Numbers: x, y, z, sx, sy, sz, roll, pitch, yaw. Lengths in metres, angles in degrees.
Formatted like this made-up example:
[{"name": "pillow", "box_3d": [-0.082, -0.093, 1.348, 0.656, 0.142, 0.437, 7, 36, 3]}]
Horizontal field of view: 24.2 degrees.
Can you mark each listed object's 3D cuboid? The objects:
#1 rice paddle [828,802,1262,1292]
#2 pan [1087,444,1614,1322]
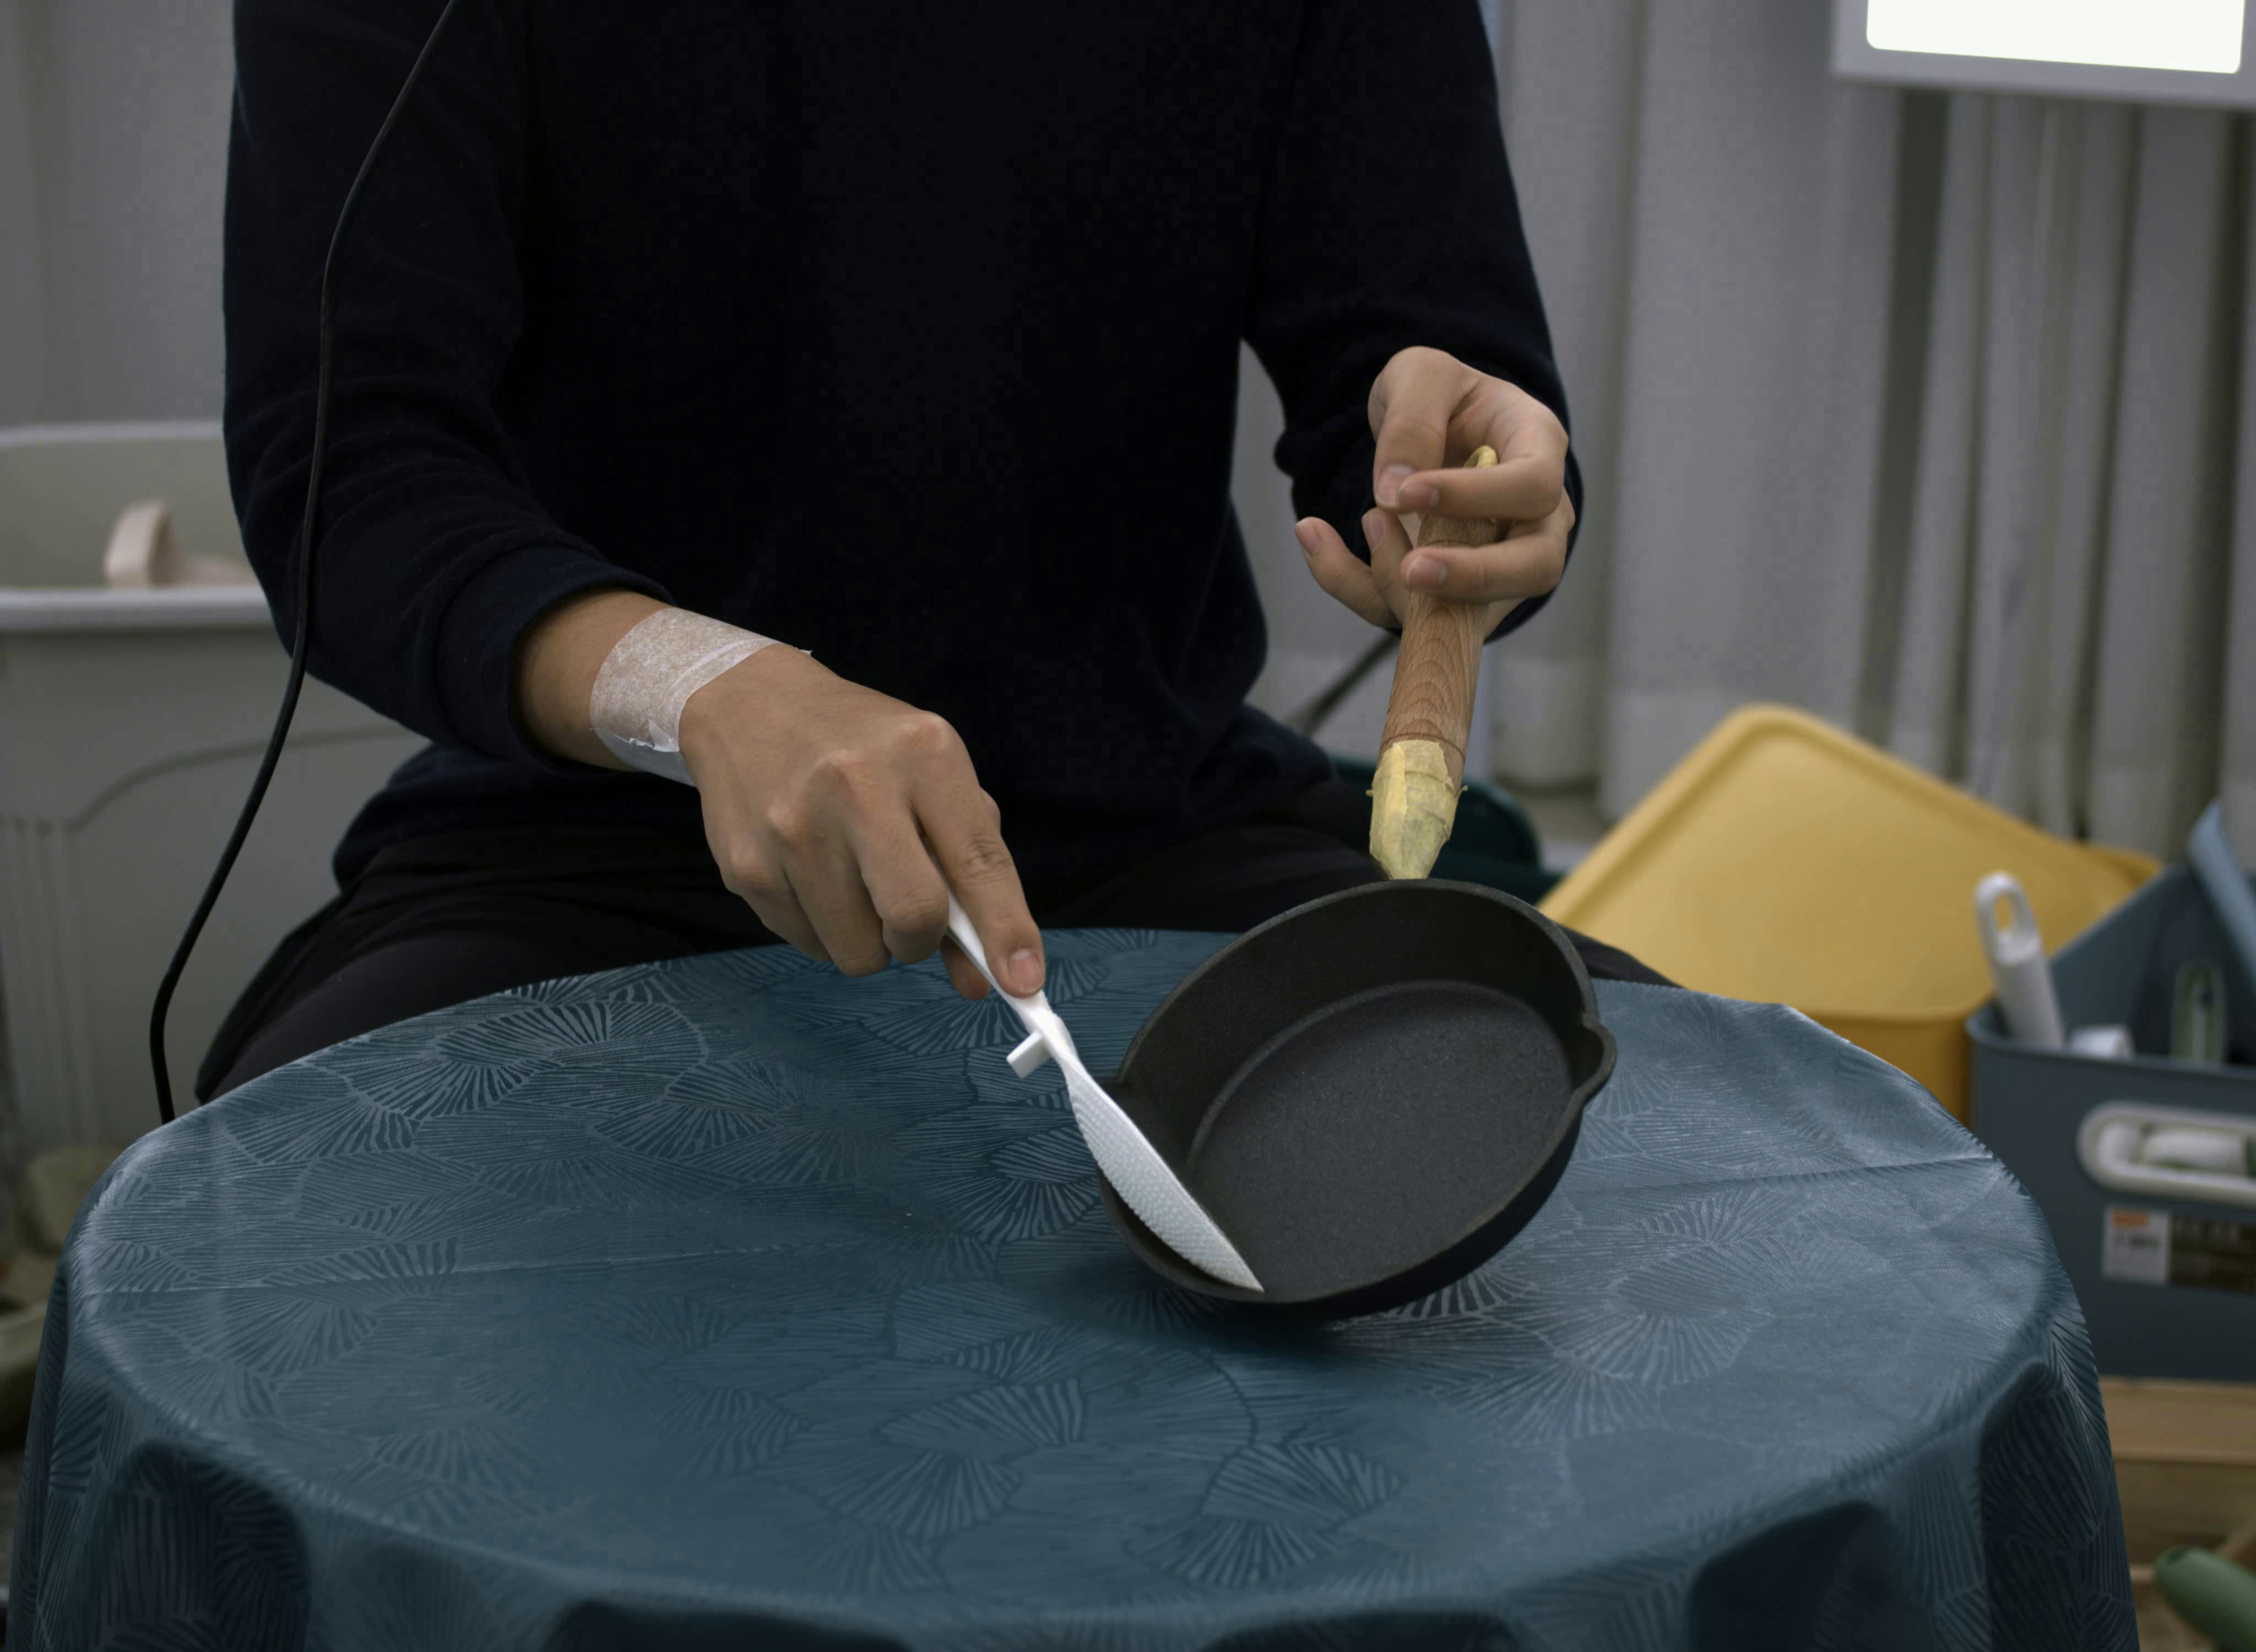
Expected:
[{"name": "rice paddle", "box_3d": [-0.019, 0.067, 1.551, 0.029, 0.069, 0.203, -41, 59, -4]}, {"name": "pan", "box_3d": [0.084, 0.015, 1.586, 0.167, 0.050, 0.322, -6, 48, 26]}]
